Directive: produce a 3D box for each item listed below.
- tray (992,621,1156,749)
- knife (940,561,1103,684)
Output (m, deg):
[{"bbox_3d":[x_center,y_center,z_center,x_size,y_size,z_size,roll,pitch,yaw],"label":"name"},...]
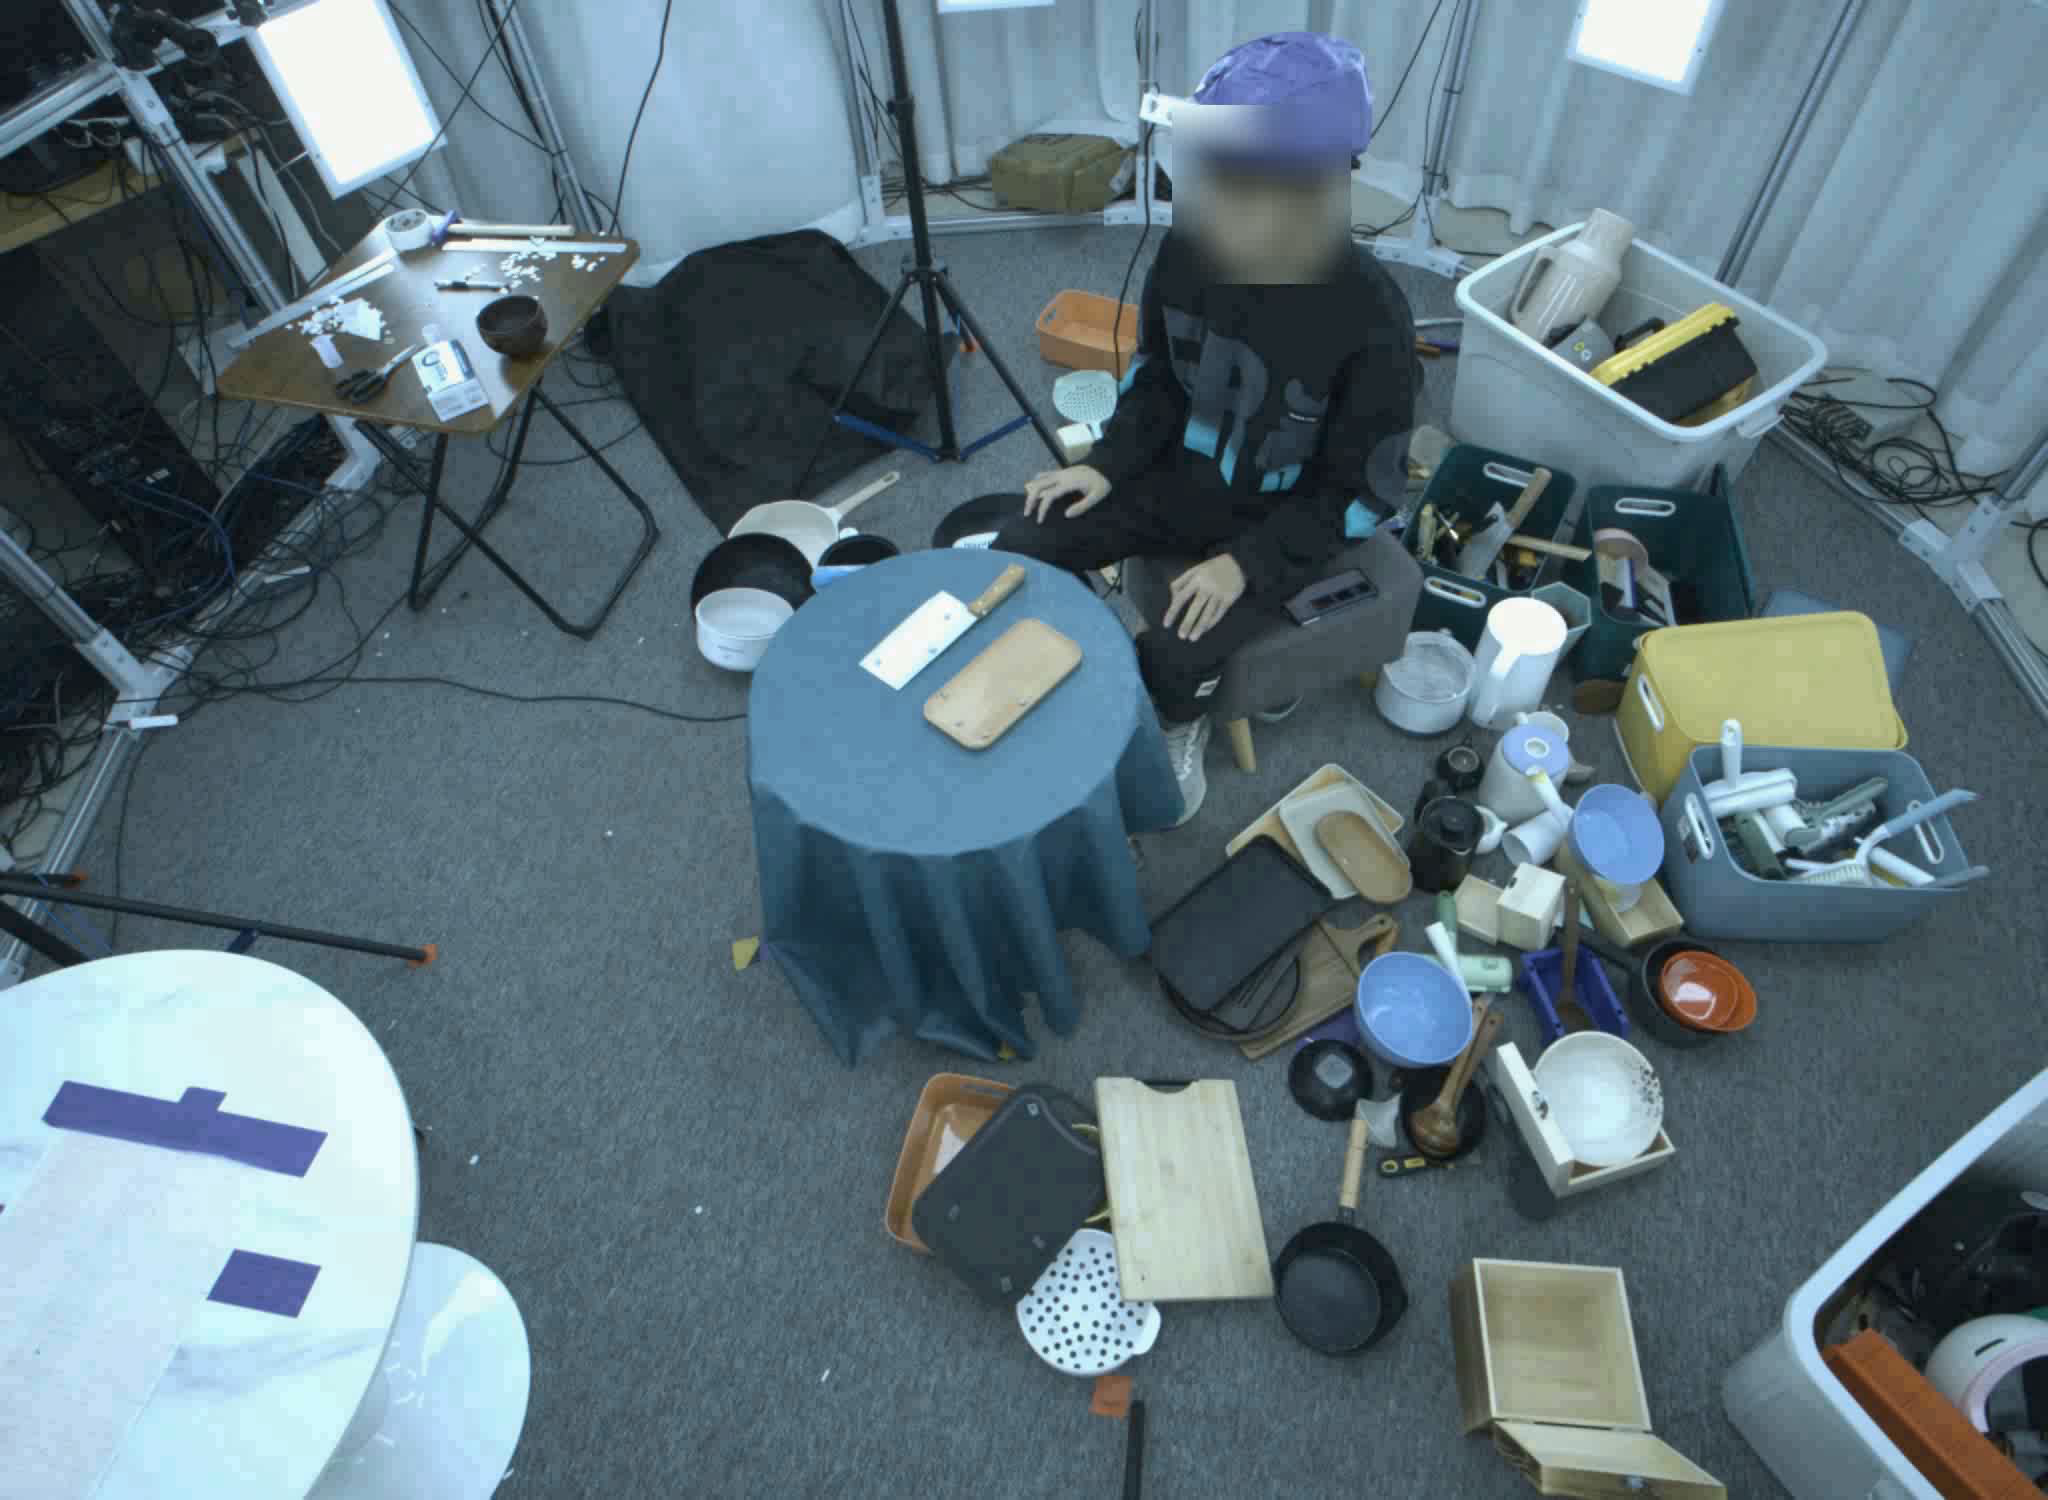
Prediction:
[{"bbox_3d":[0.076,-0.099,1.845,0.252,0.023,0.128,-37,63,-23],"label":"tray"},{"bbox_3d":[-0.007,-0.215,1.929,0.307,0.021,0.091,-41,61,-21],"label":"knife"}]
